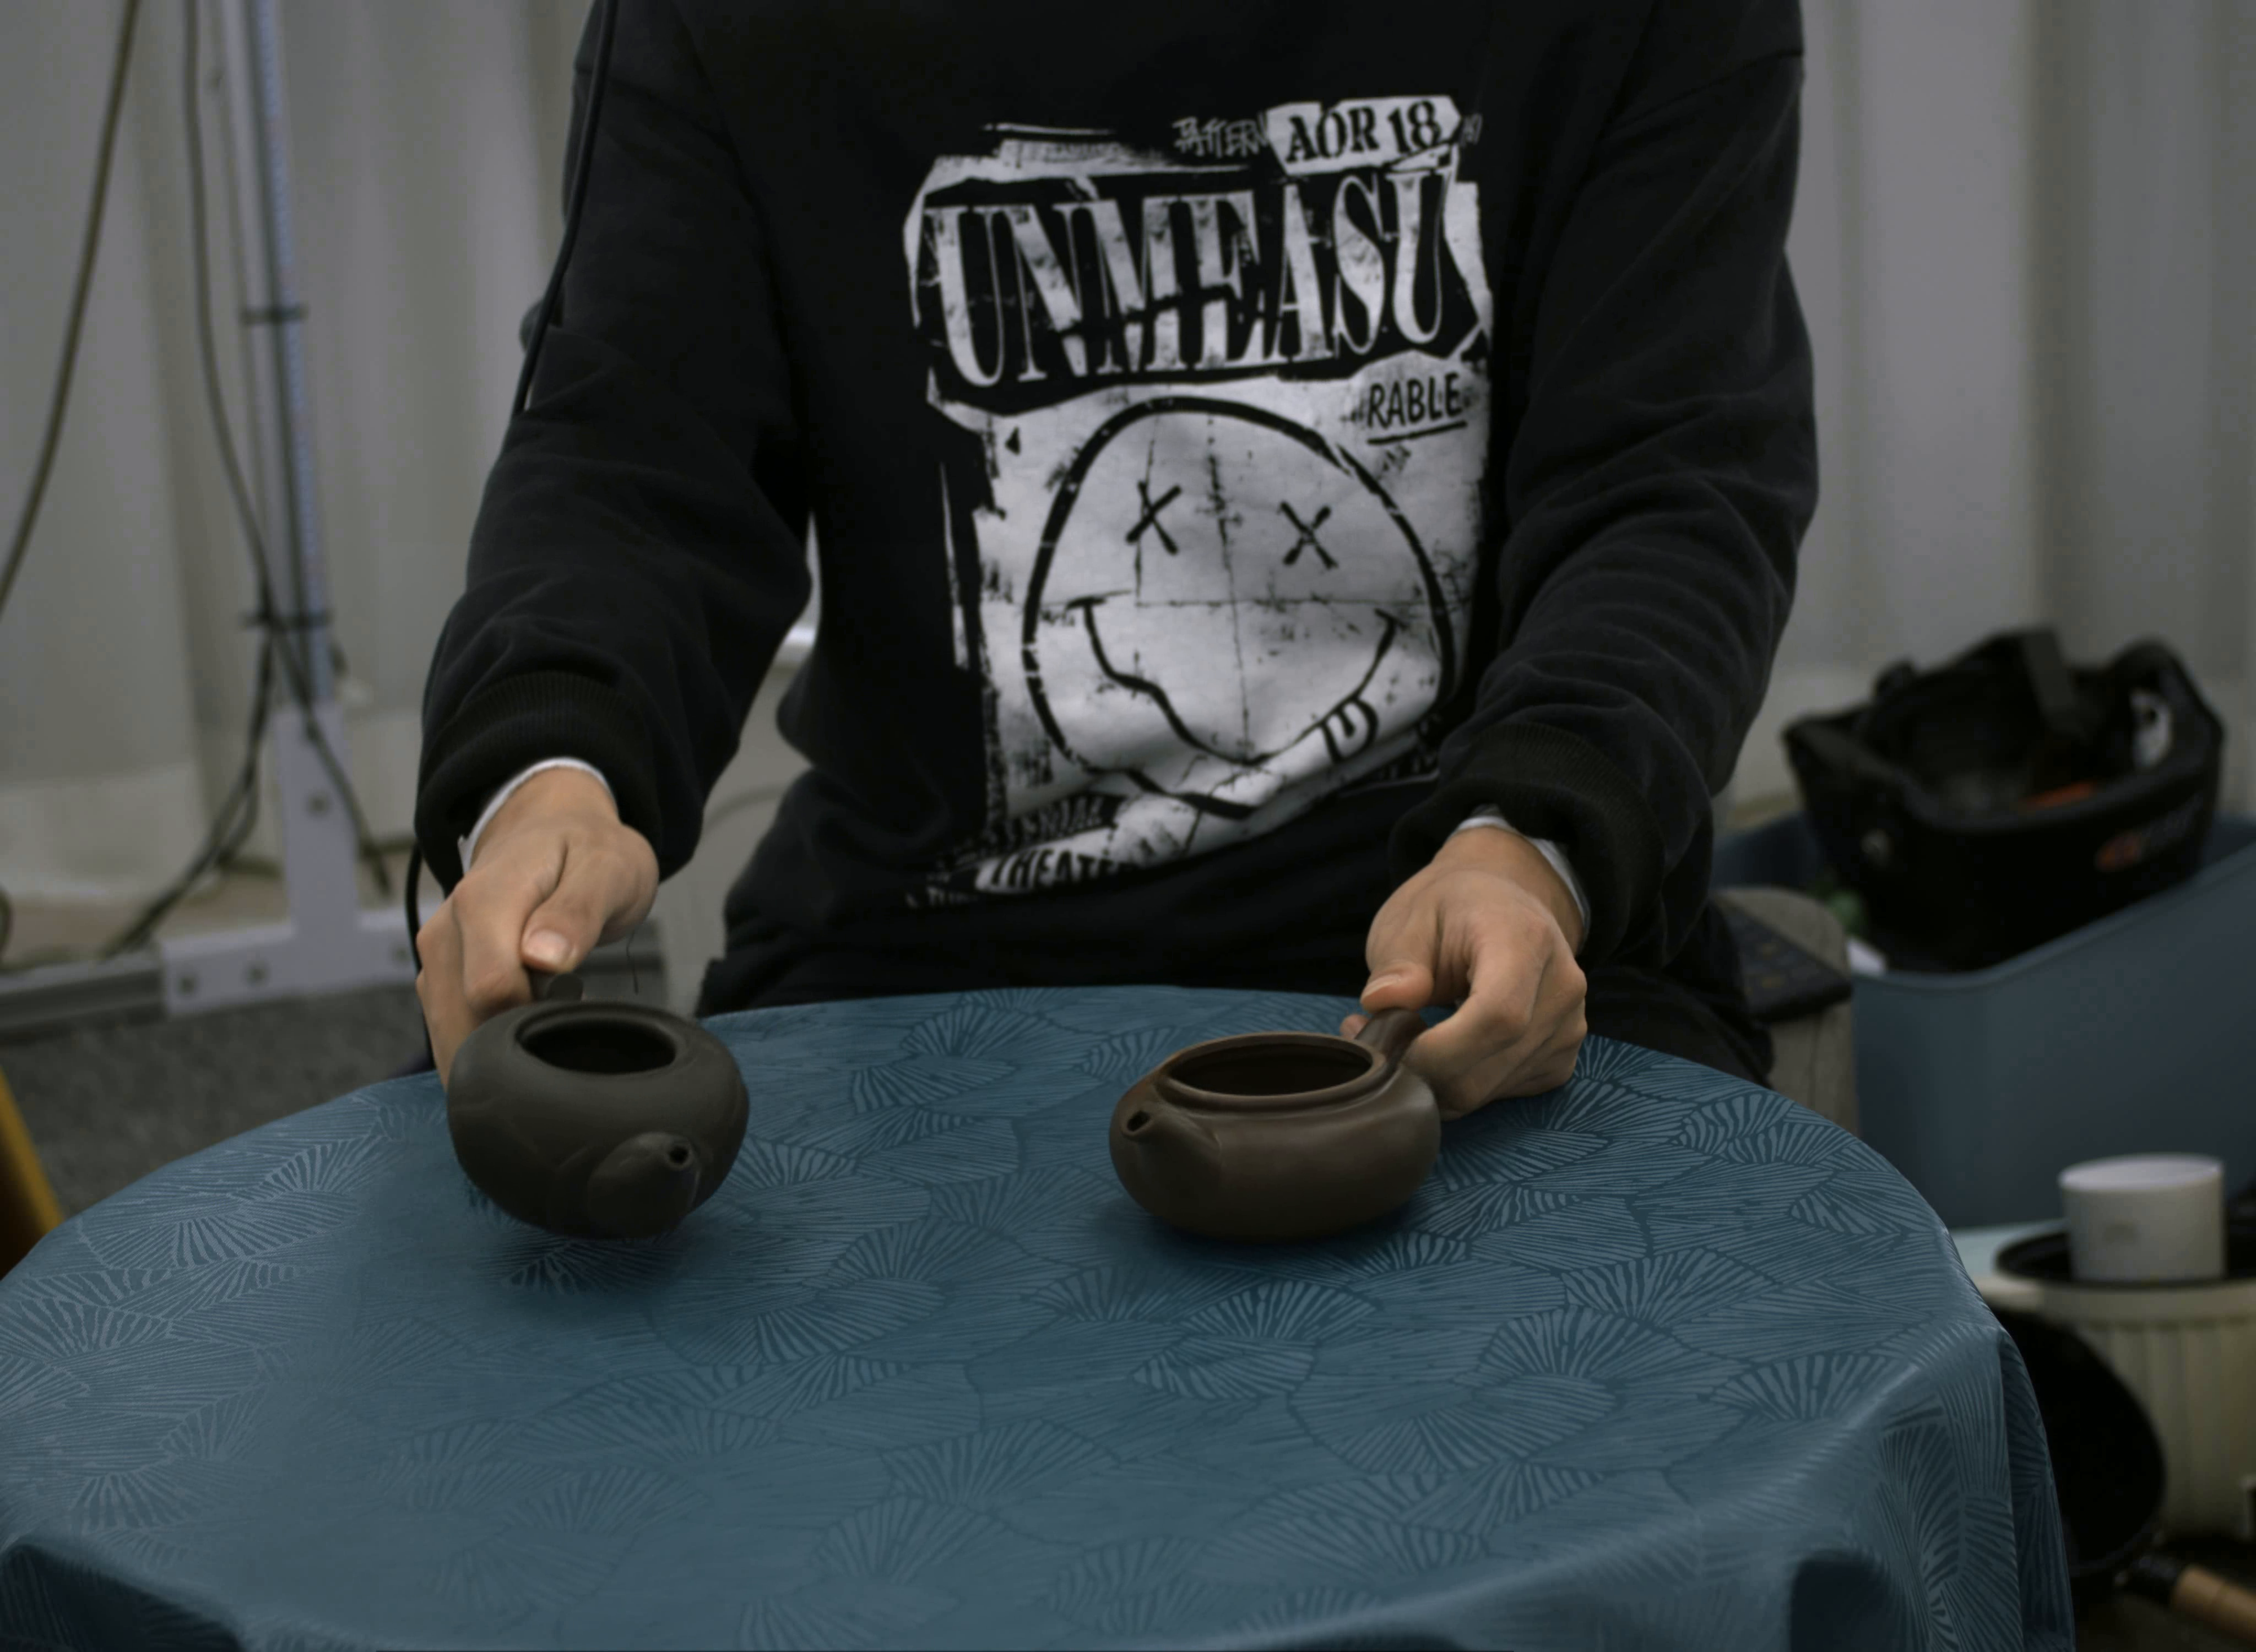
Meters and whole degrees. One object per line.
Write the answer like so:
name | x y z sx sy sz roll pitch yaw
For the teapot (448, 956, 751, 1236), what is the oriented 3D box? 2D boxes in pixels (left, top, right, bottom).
teapot | -0.164 0.086 1.682 0.092 0.064 0.156 -1 23 -24

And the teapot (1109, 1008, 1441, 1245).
teapot | 0.047 0.093 1.683 0.103 0.053 0.153 8 19 31
